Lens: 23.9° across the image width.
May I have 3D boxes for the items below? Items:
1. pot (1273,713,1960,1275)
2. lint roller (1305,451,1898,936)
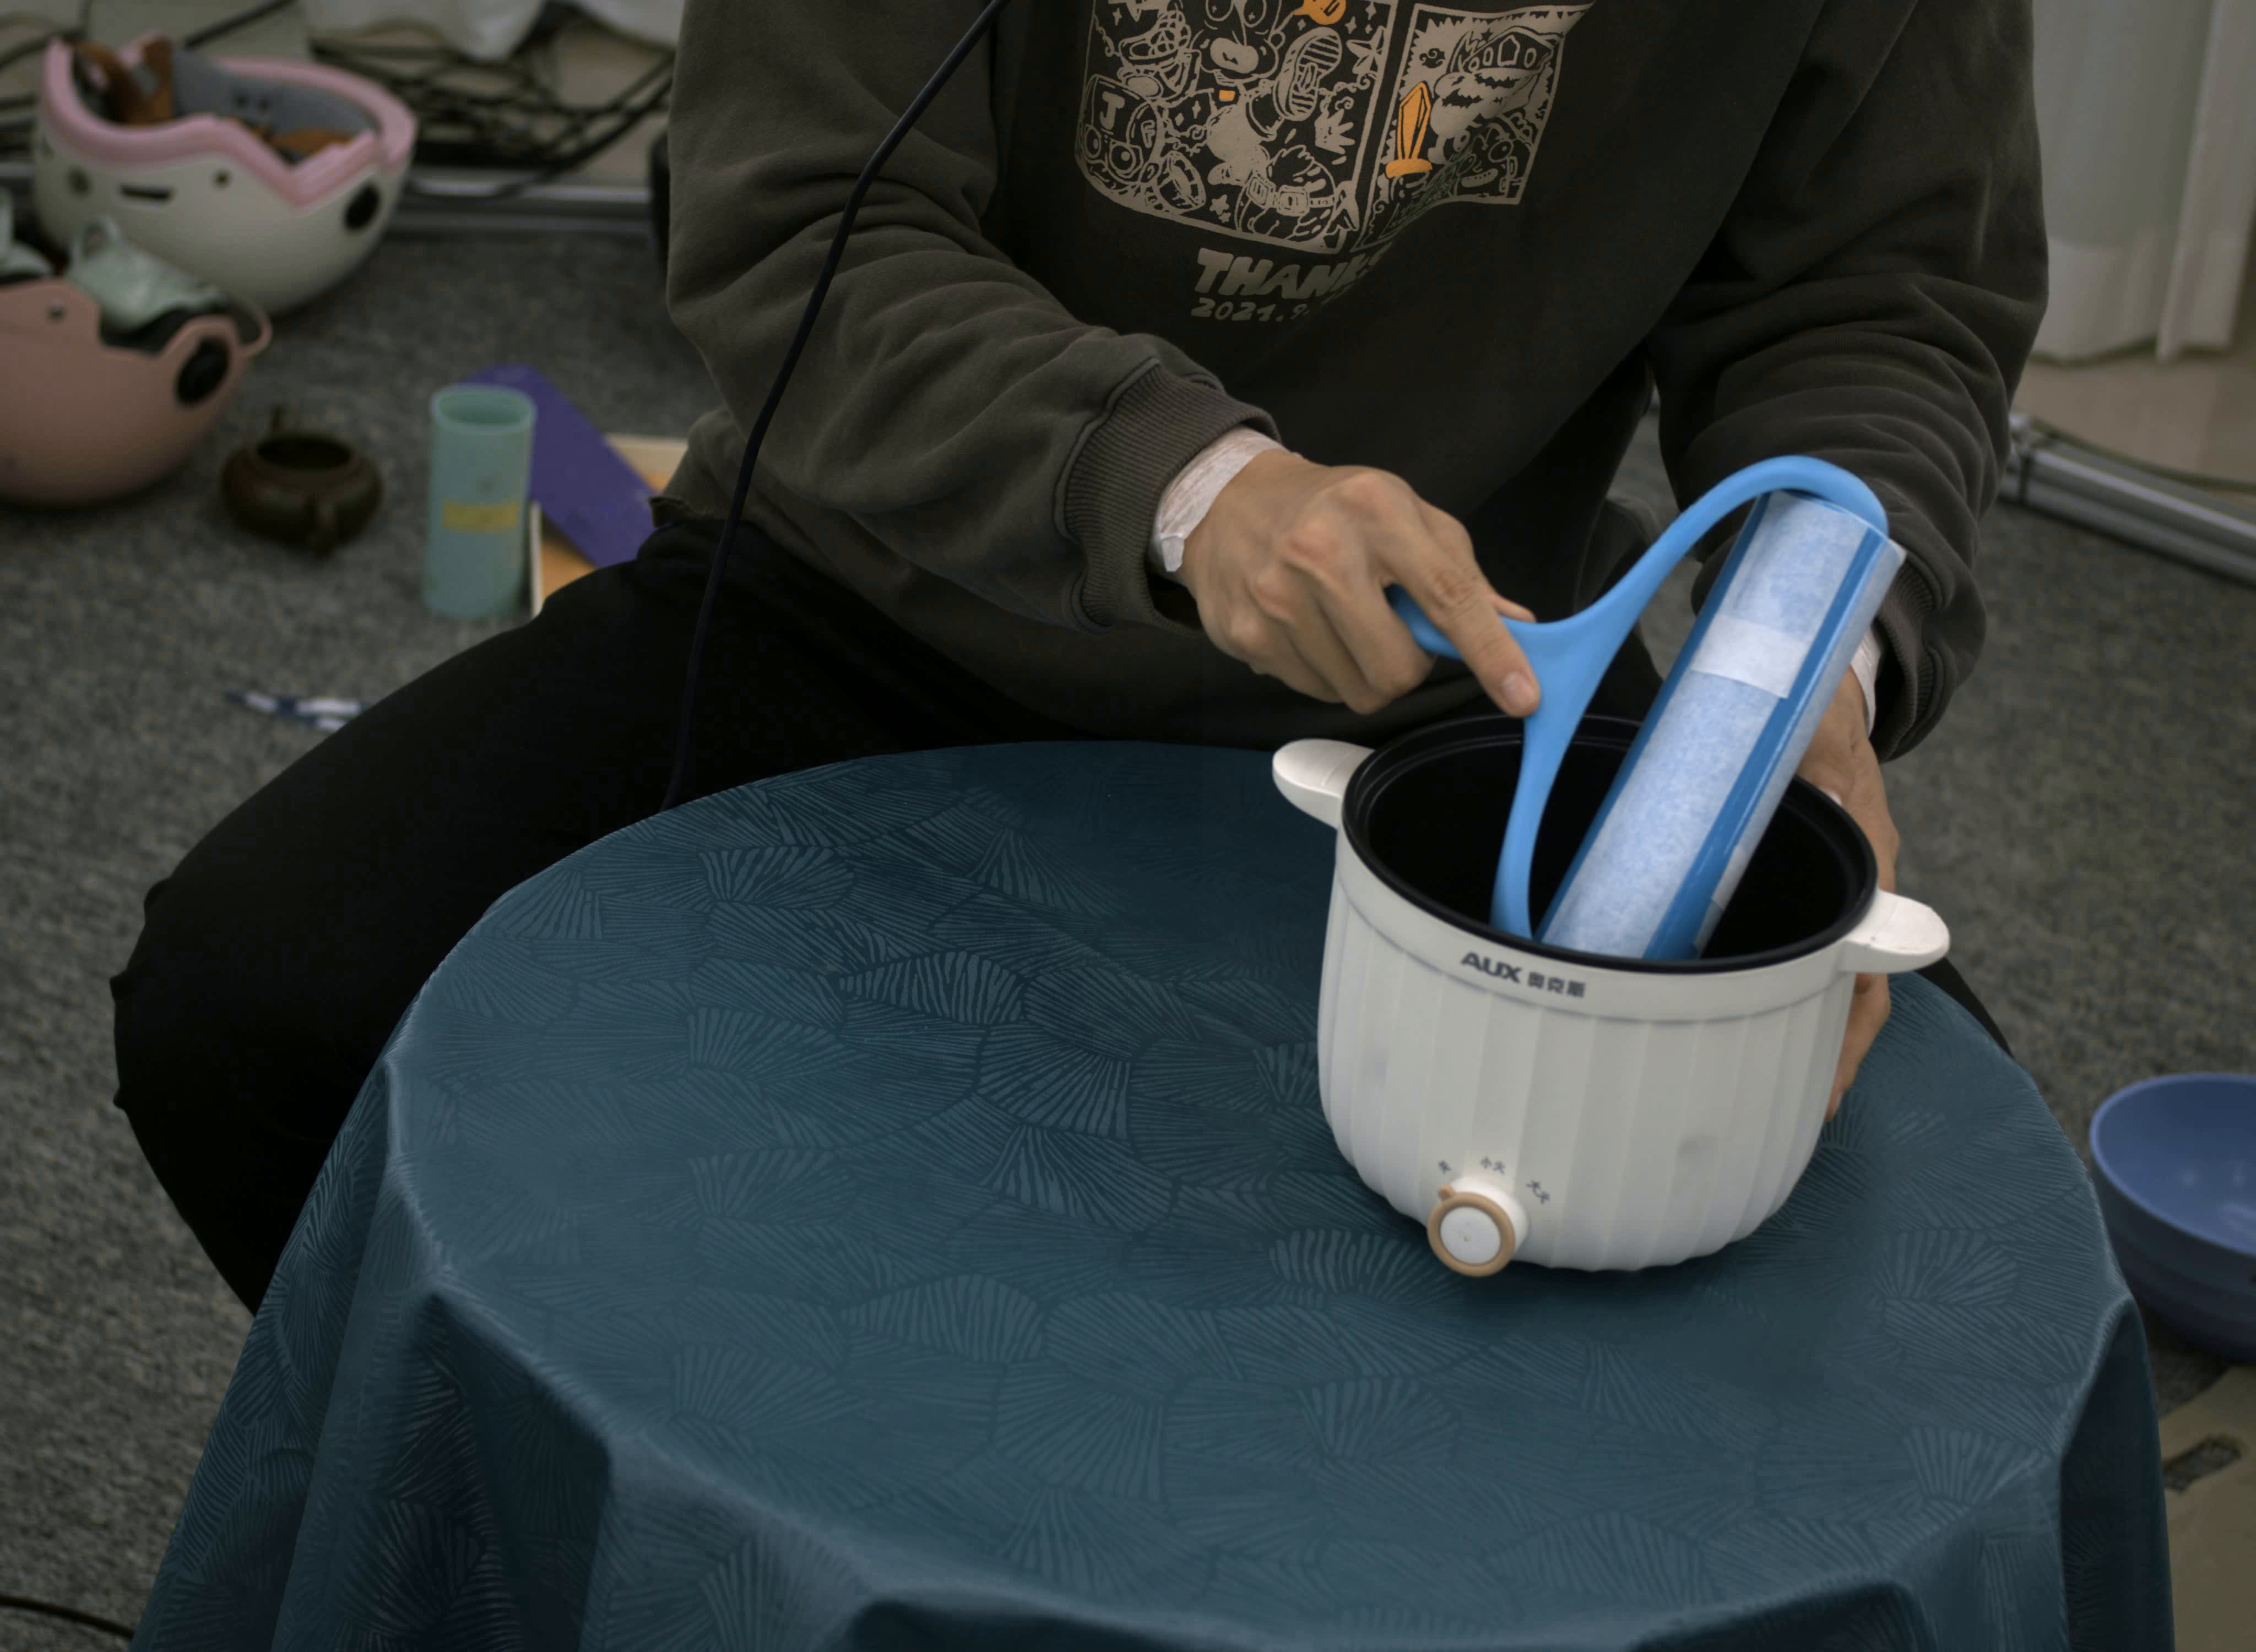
[{"bbox_3d":[0.154,0.063,1.805,0.241,0.142,0.190,14,24,18],"label":"pot"},{"bbox_3d":[0.142,-0.044,1.803,0.180,0.229,0.067,24,-11,7],"label":"lint roller"}]
